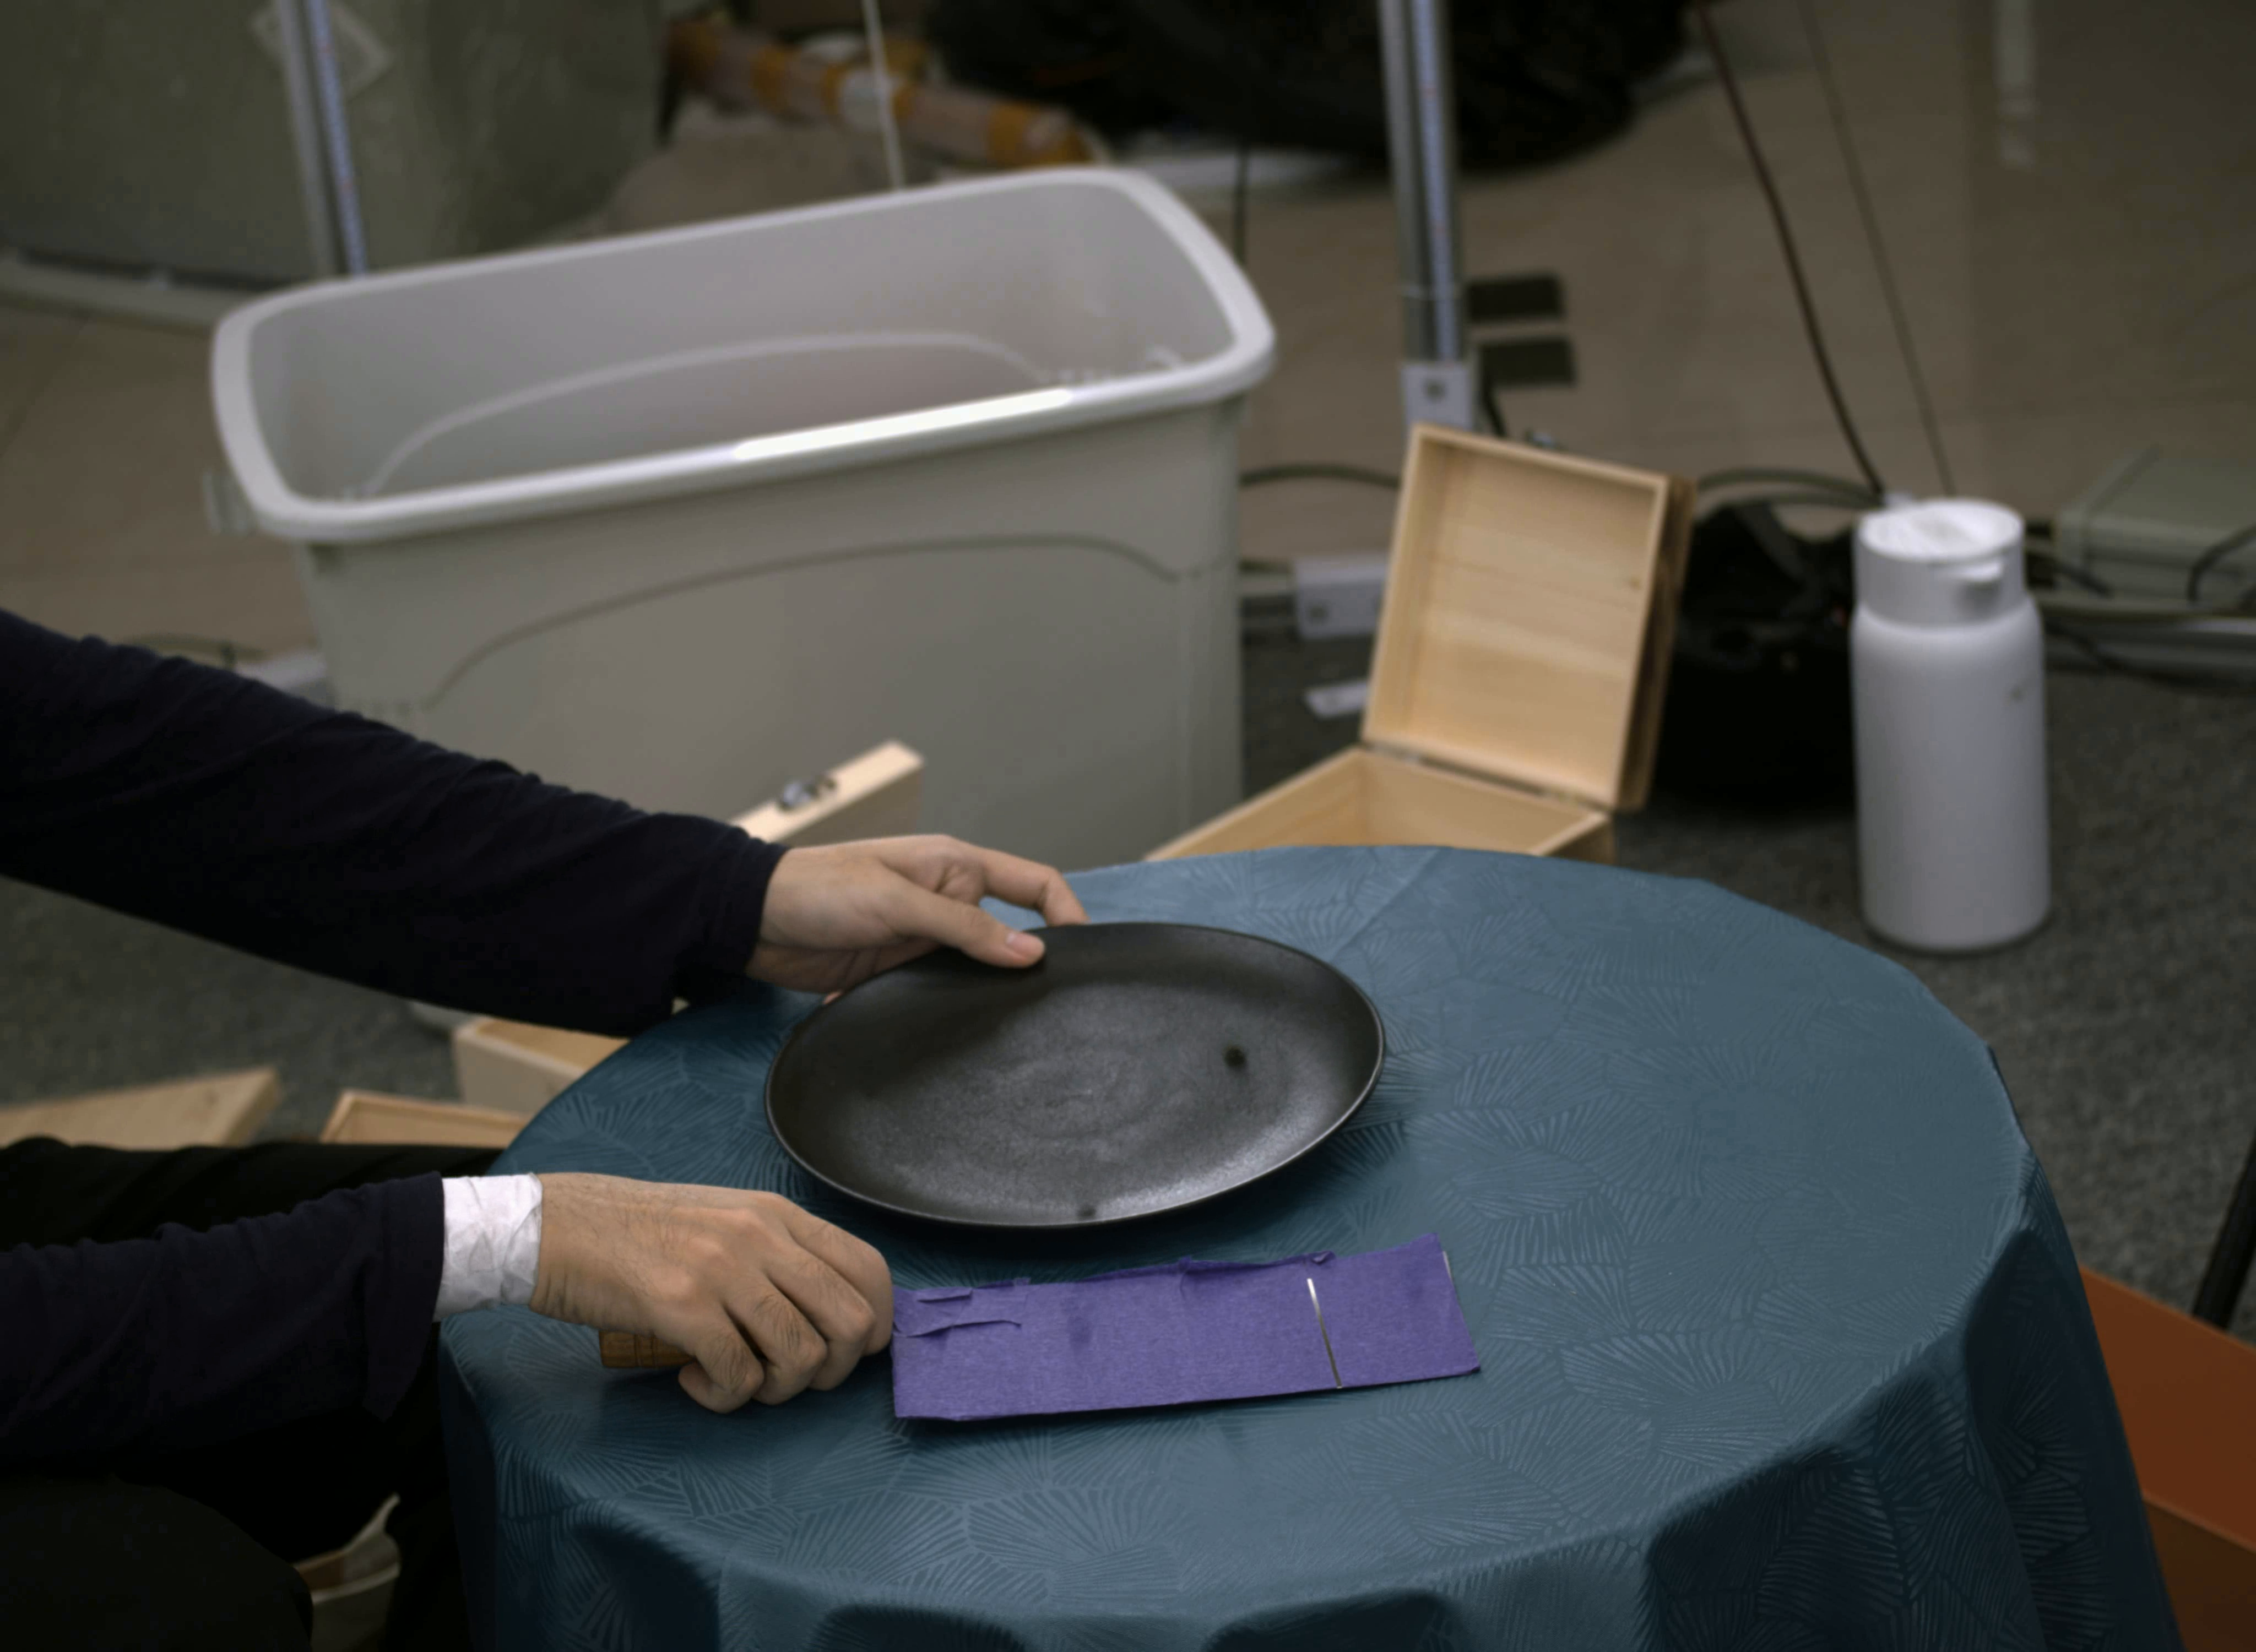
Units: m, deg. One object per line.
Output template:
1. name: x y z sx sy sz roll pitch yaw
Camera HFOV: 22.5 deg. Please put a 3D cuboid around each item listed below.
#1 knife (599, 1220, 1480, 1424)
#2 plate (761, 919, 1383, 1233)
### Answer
1. knife: -0.033 0.182 2.036 0.315 0.033 0.102 -7 25 -2
2. plate: -0.021 0.102 2.202 0.244 0.024 0.240 -5 27 2
